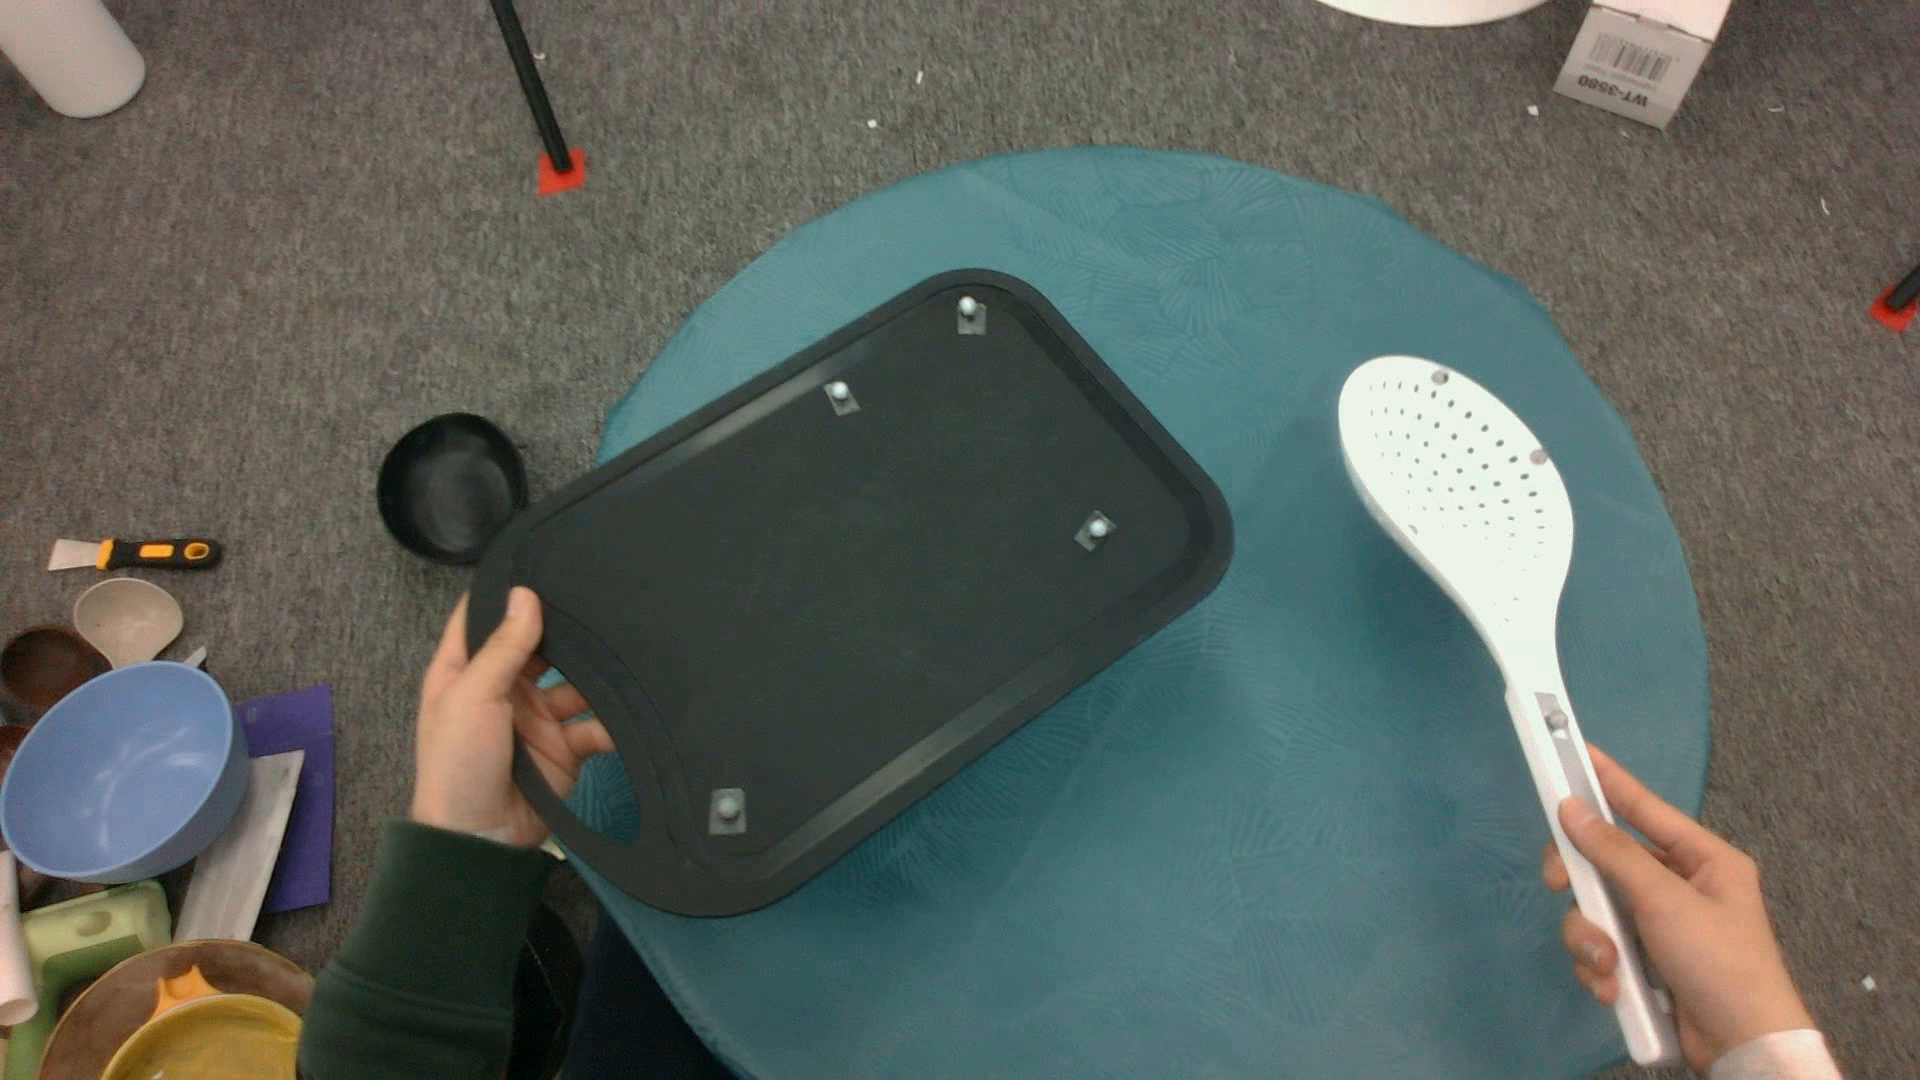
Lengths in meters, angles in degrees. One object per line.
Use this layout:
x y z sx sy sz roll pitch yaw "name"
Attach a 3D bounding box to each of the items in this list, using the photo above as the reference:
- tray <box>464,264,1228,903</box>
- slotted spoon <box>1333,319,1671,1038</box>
-0.052 0.007 0.606 0.326 0.010 0.211 -33 68 -17 "tray"
0.248 0.043 0.625 0.136 0.045 0.351 9 52 -25 "slotted spoon"
